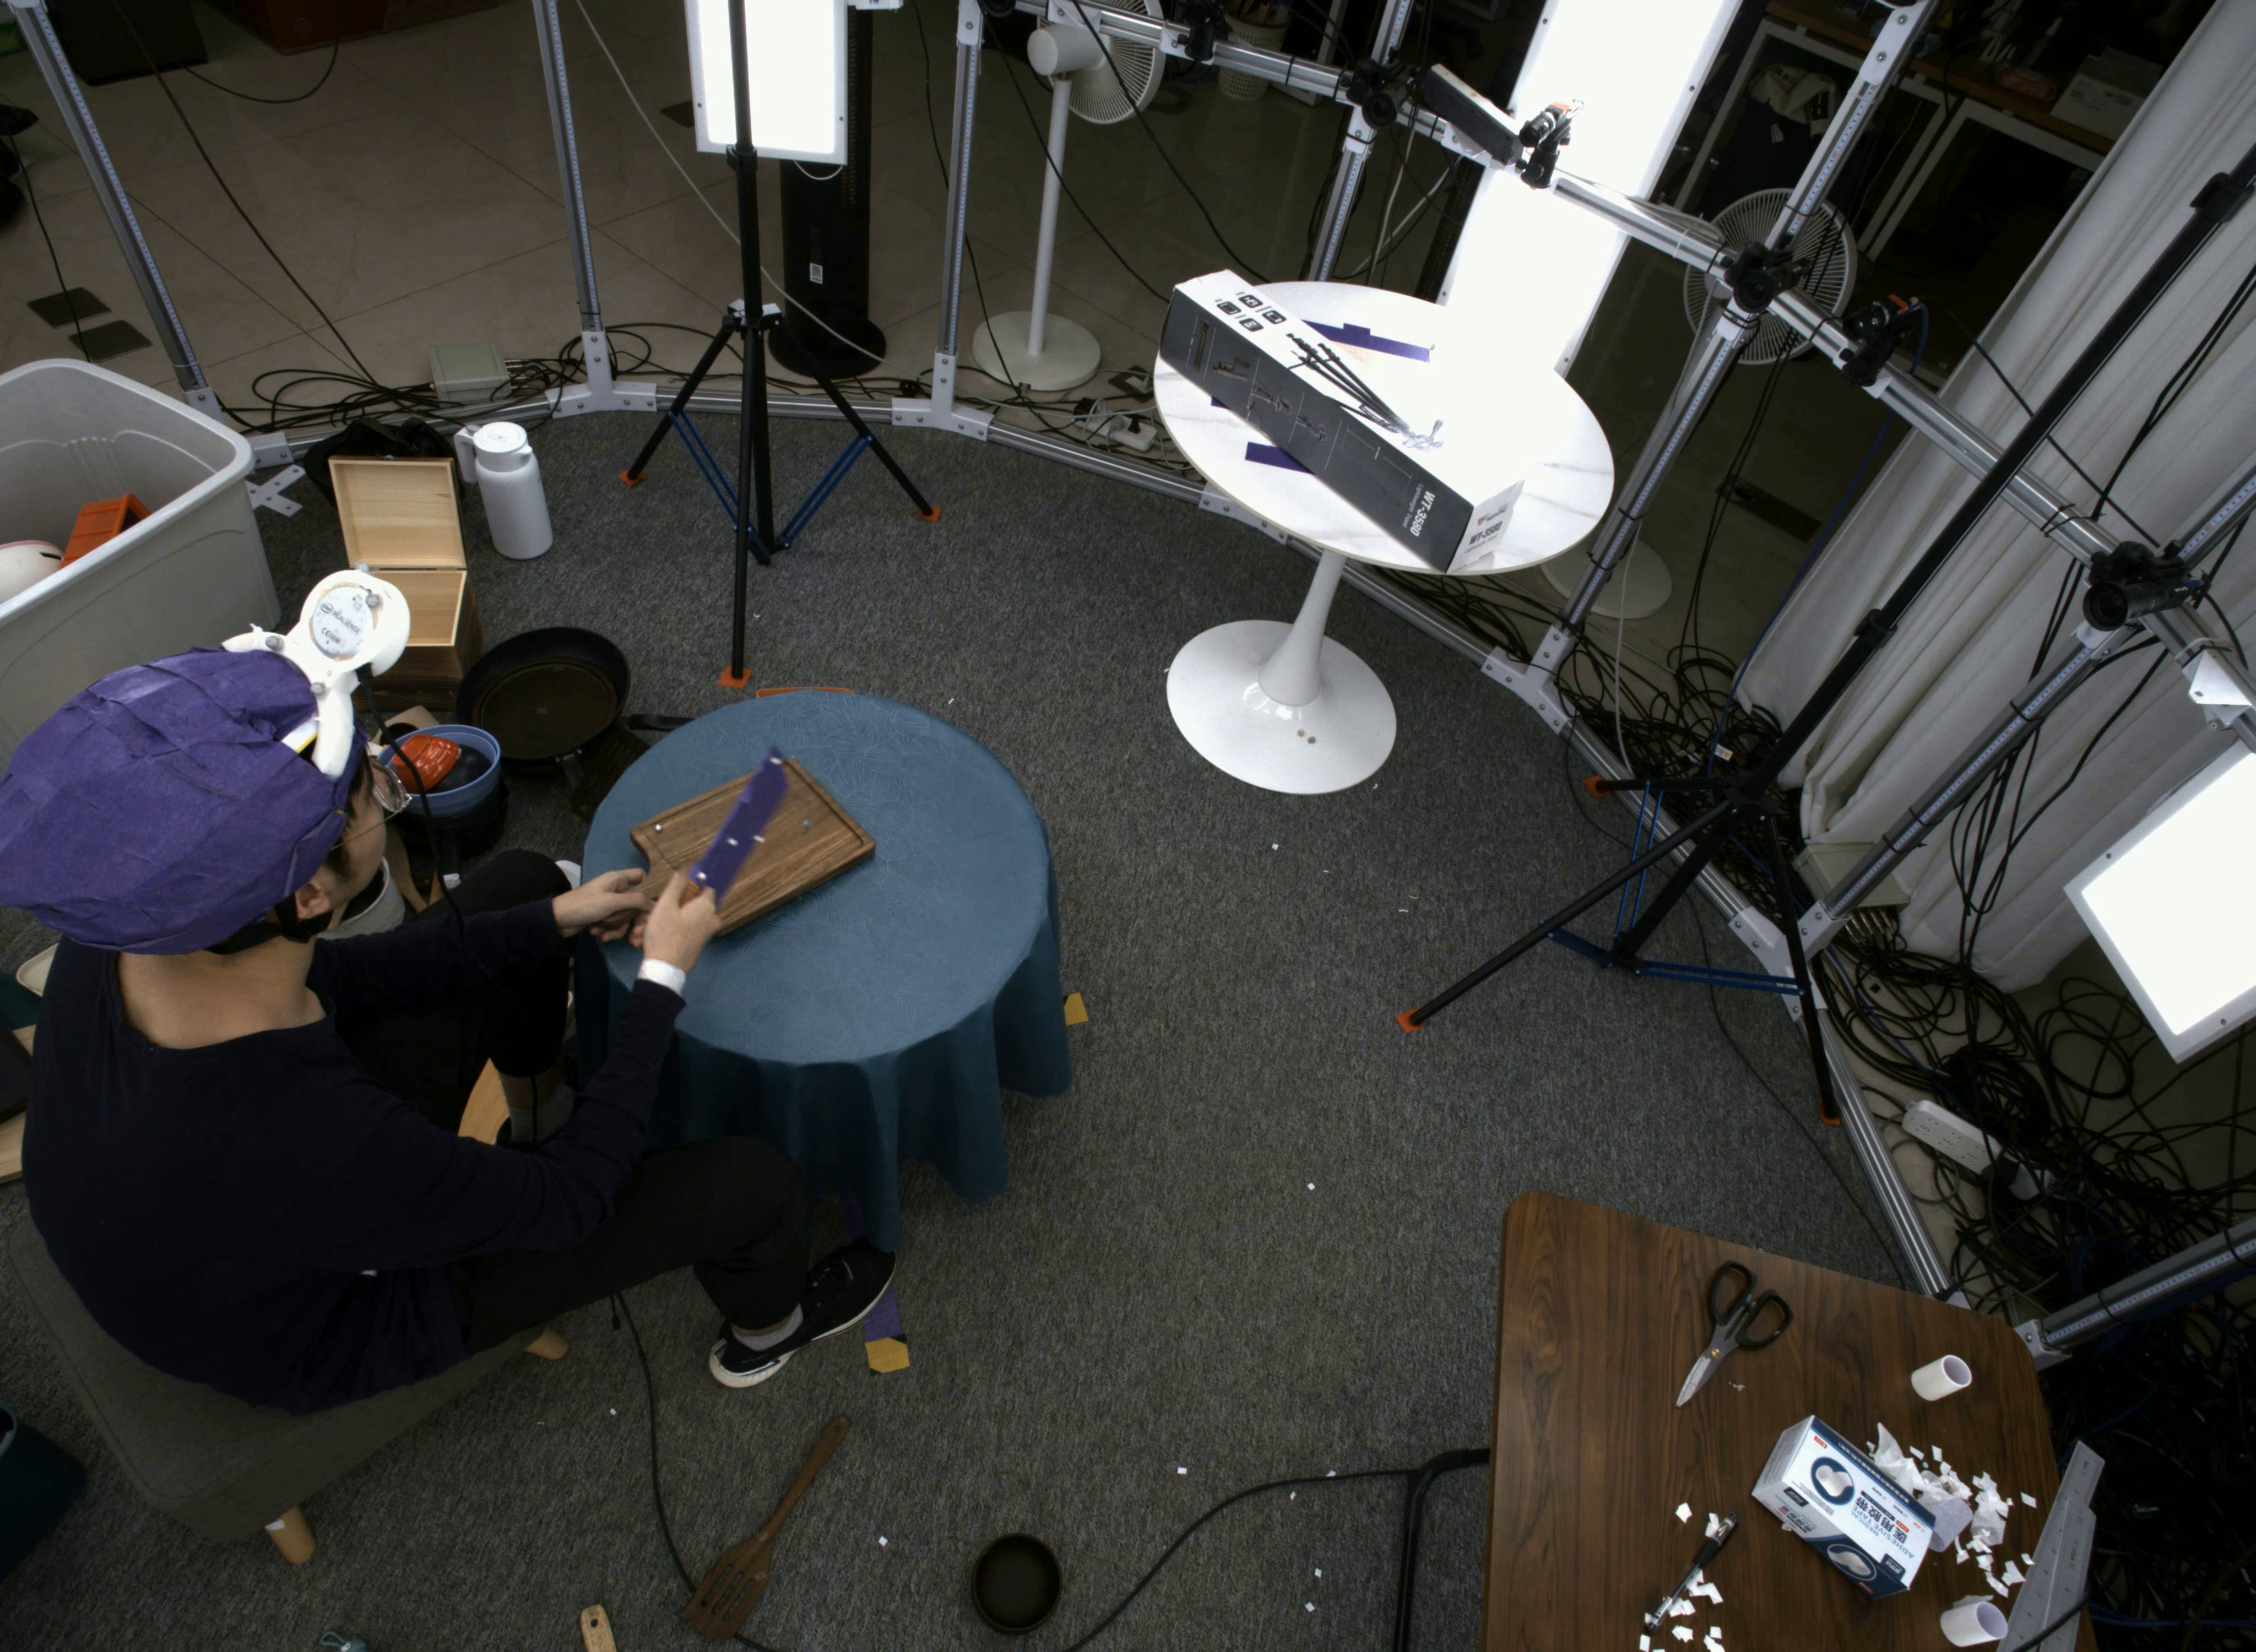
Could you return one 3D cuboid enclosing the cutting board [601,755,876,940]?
[{"bbox_3d":[-0.517,0.040,1.647,0.196,0.023,0.353,44,51,18],"label":"cutting board"}]

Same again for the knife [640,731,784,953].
[{"bbox_3d":[-0.484,0.032,1.540,0.031,0.107,0.312,15,54,10],"label":"knife"}]
